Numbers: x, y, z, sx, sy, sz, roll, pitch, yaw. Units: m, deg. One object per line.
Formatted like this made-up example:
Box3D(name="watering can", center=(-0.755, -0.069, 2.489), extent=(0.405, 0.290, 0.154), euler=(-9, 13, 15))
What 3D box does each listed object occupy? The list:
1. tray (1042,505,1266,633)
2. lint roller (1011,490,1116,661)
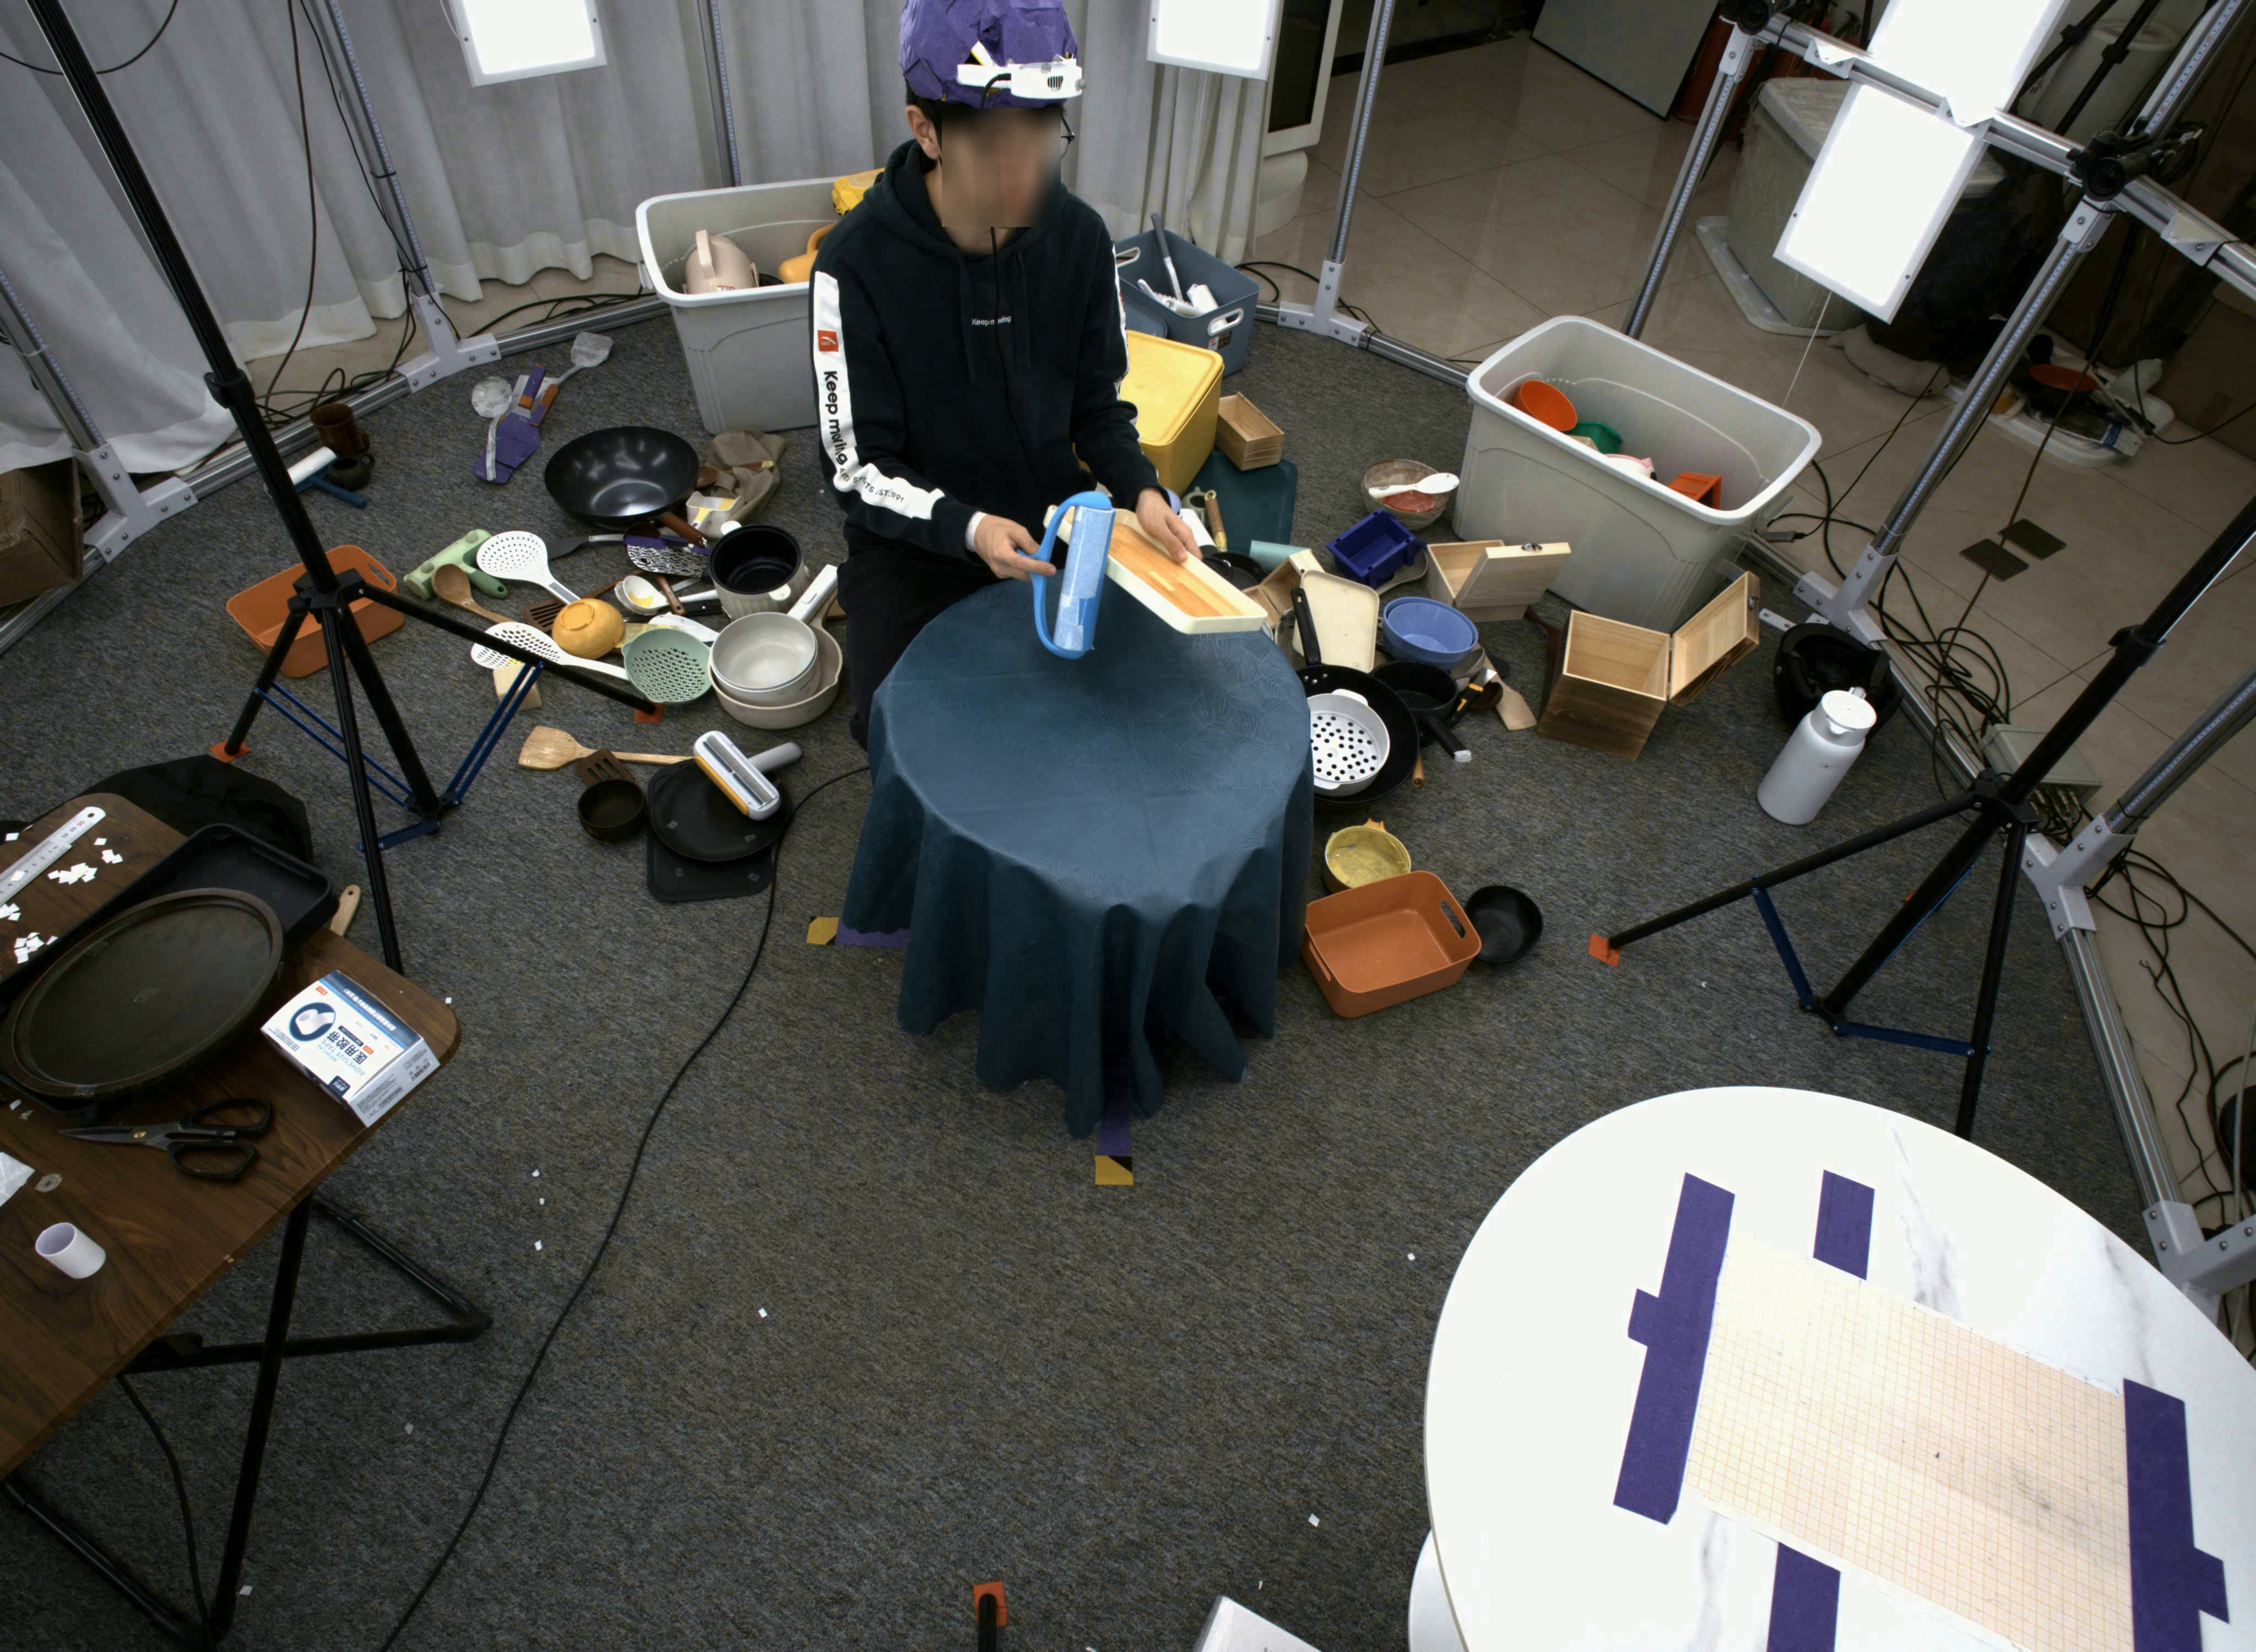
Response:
Box3D(name="tray", center=(0.035, -0.359, 1.790), extent=(0.191, 0.027, 0.305), euler=(-10, 44, -47))
Box3D(name="lint roller", center=(-0.104, -0.348, 1.742), extent=(0.182, 0.225, 0.068), euler=(19, 25, 31))
